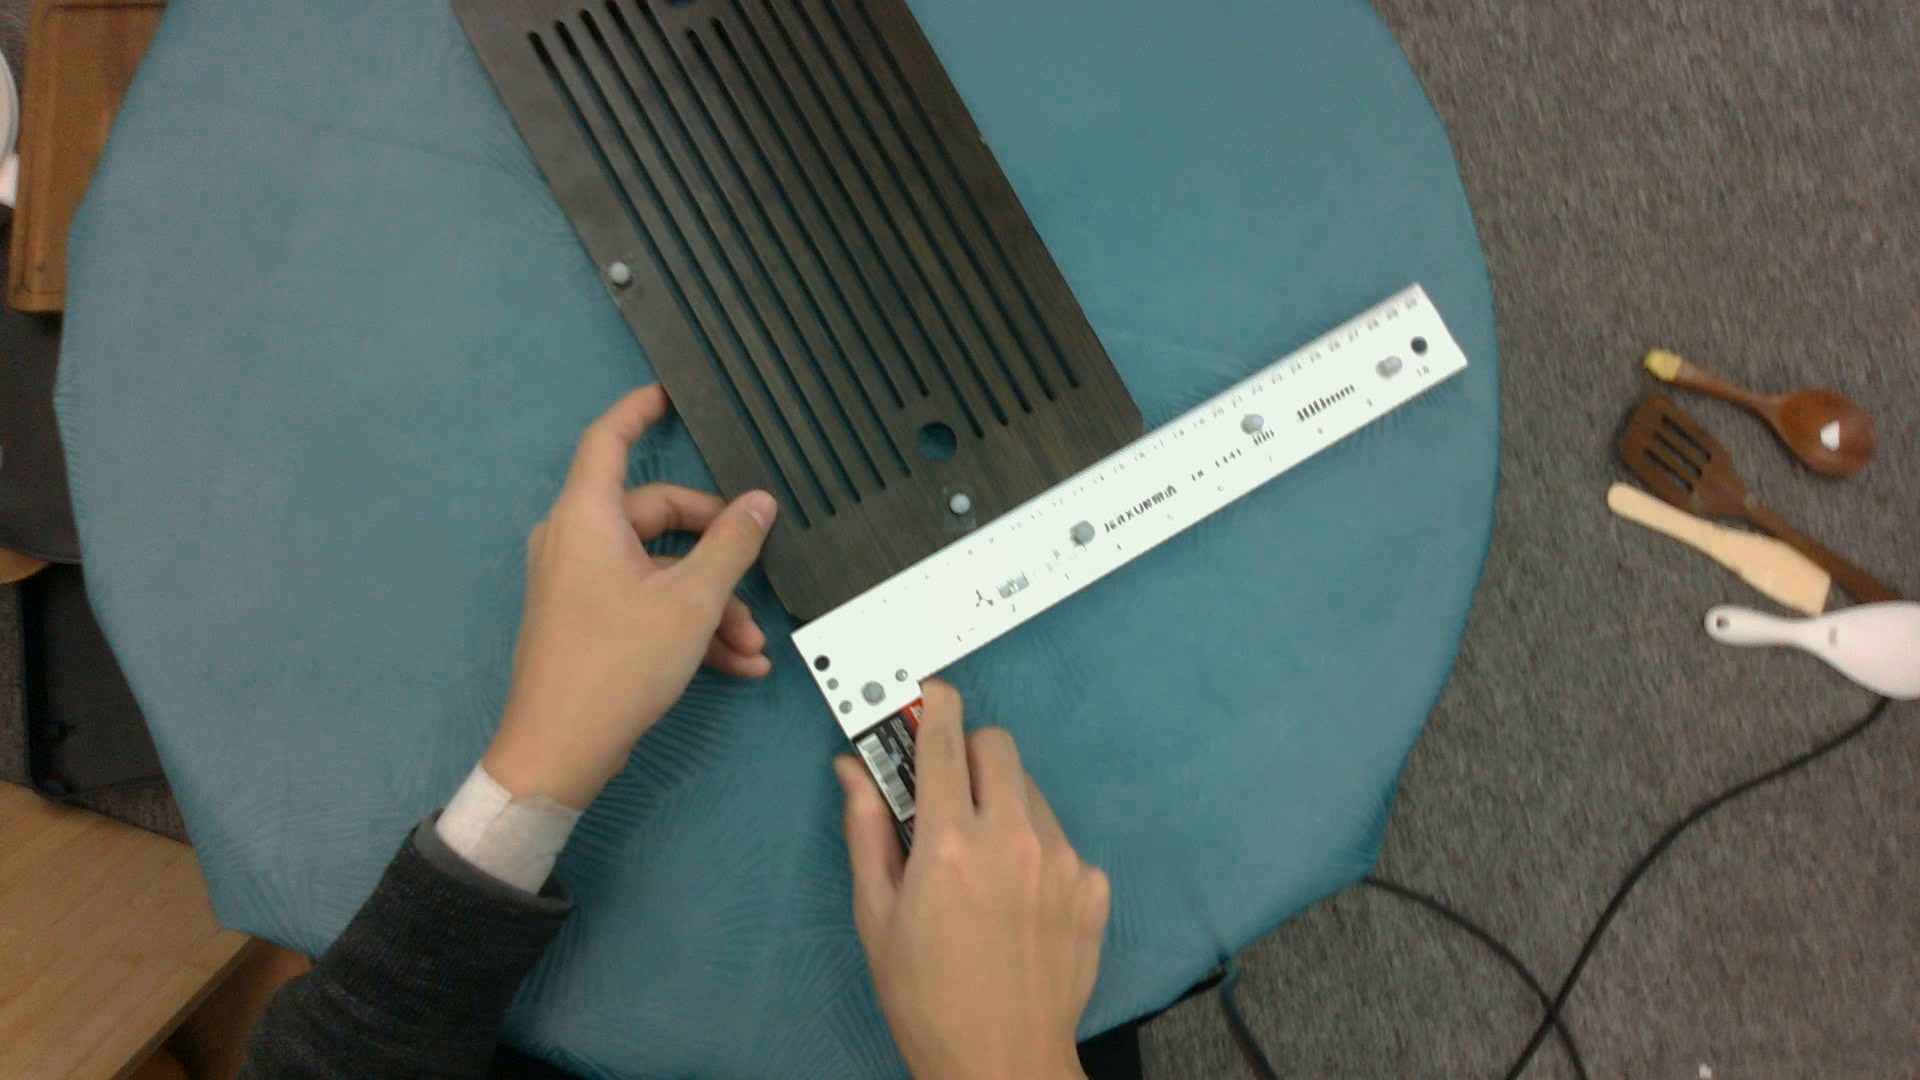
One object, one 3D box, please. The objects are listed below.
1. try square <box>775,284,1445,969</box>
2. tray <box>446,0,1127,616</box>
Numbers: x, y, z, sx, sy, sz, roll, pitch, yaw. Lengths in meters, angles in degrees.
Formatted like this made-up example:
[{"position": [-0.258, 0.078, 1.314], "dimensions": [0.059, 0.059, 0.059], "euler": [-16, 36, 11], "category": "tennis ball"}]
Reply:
[{"position": [0.095, 0.026, 0.565], "dimensions": [0.313, 0.016, 0.152], "euler": [-29, 85, -12], "category": "try square"}, {"position": [-0.072, -0.135, 0.579], "dimensions": [0.170, 0.018, 0.306], "euler": [-28, 85, -13], "category": "tray"}]
